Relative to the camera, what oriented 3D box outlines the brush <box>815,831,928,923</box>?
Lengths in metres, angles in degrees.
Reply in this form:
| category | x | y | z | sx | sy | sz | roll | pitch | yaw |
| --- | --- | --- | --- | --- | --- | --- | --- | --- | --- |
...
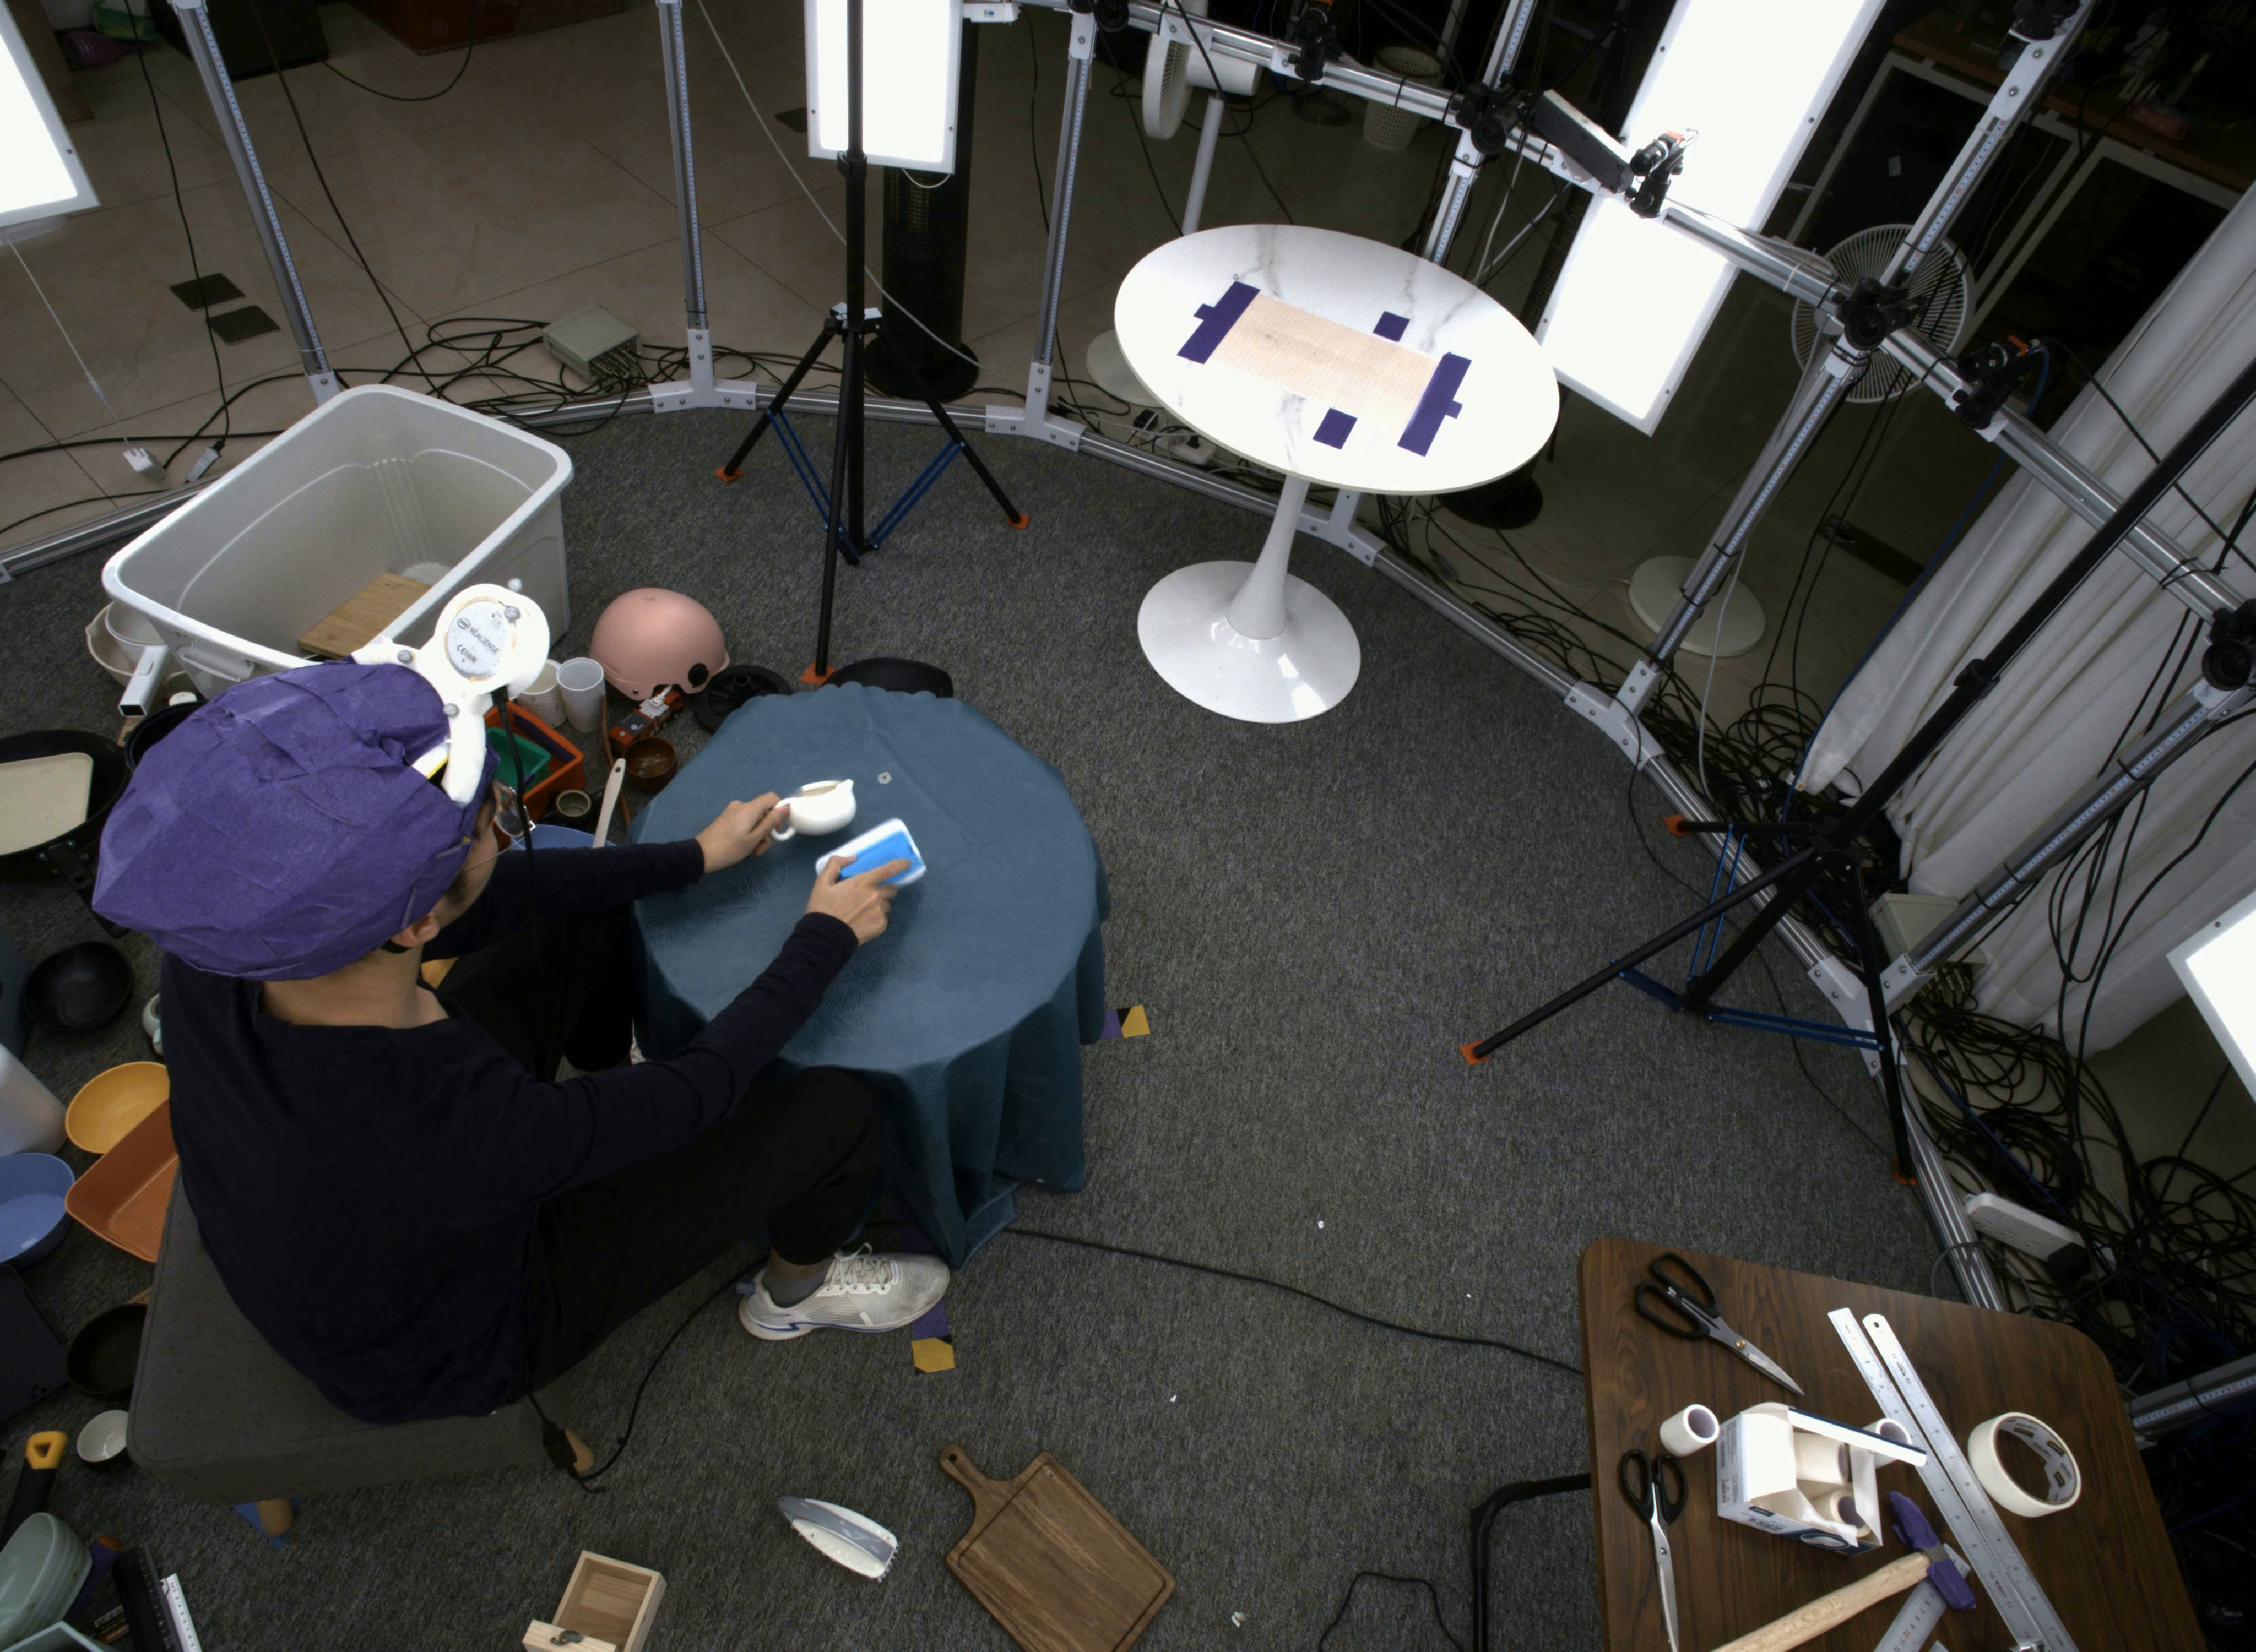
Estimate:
| category | x | y | z | sx | sy | sz | roll | pitch | yaw |
| --- | --- | --- | --- | --- | --- | --- | --- | --- | --- |
| brush | -0.314 | 0.056 | 1.620 | 0.145 | 0.055 | 0.085 | -26 | 94 | -39 |

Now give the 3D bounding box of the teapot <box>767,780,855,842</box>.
| category | x | y | z | sx | sy | sz | roll | pitch | yaw |
| --- | --- | --- | --- | --- | --- | --- | --- | --- | --- |
| teapot | -0.410 | -0.019 | 1.684 | 0.090 | 0.058 | 0.128 | 19 | 32 | 42 |
